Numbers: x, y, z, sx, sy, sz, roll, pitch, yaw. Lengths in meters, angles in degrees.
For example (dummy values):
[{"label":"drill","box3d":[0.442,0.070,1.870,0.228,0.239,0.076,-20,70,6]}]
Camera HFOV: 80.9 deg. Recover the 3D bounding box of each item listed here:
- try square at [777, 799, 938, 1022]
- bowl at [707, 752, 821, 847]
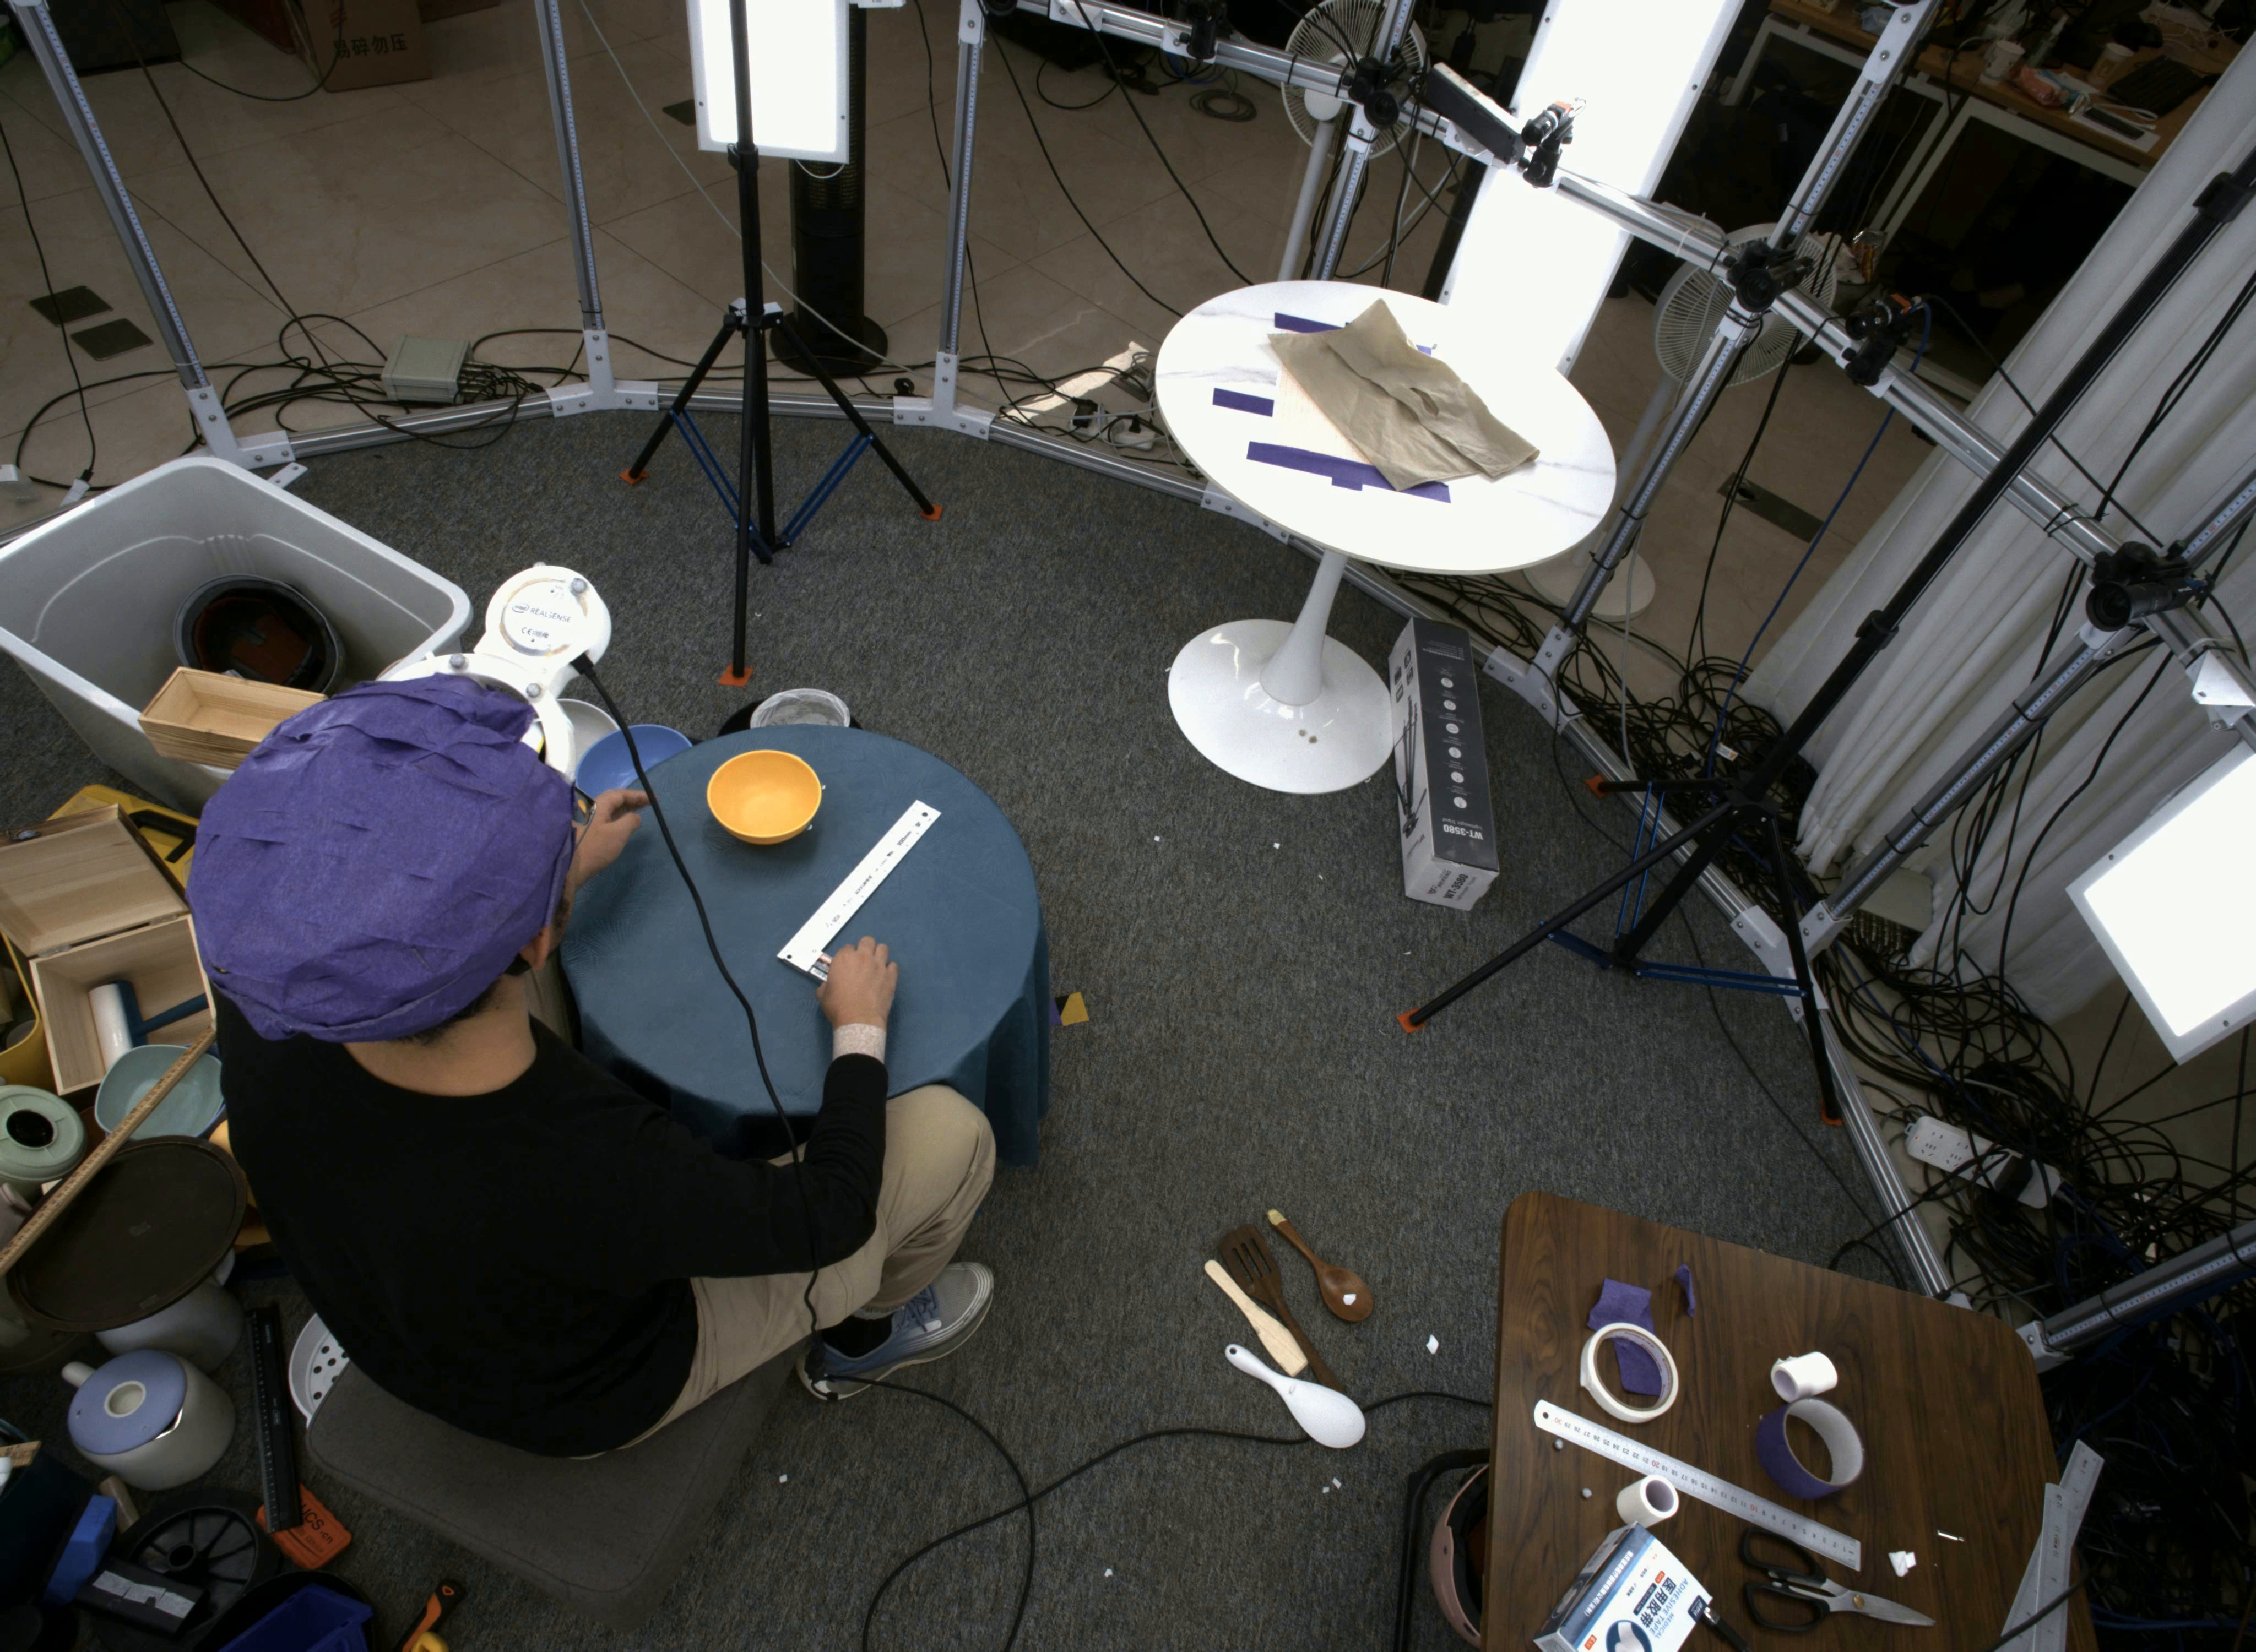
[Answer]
[{"label":"try square","box3d":[-0.299,0.098,1.677,0.150,0.016,0.311,31,51,5]},{"label":"bowl","box3d":[-0.472,-0.024,1.689,0.144,0.061,0.143,6,53,-6]}]
